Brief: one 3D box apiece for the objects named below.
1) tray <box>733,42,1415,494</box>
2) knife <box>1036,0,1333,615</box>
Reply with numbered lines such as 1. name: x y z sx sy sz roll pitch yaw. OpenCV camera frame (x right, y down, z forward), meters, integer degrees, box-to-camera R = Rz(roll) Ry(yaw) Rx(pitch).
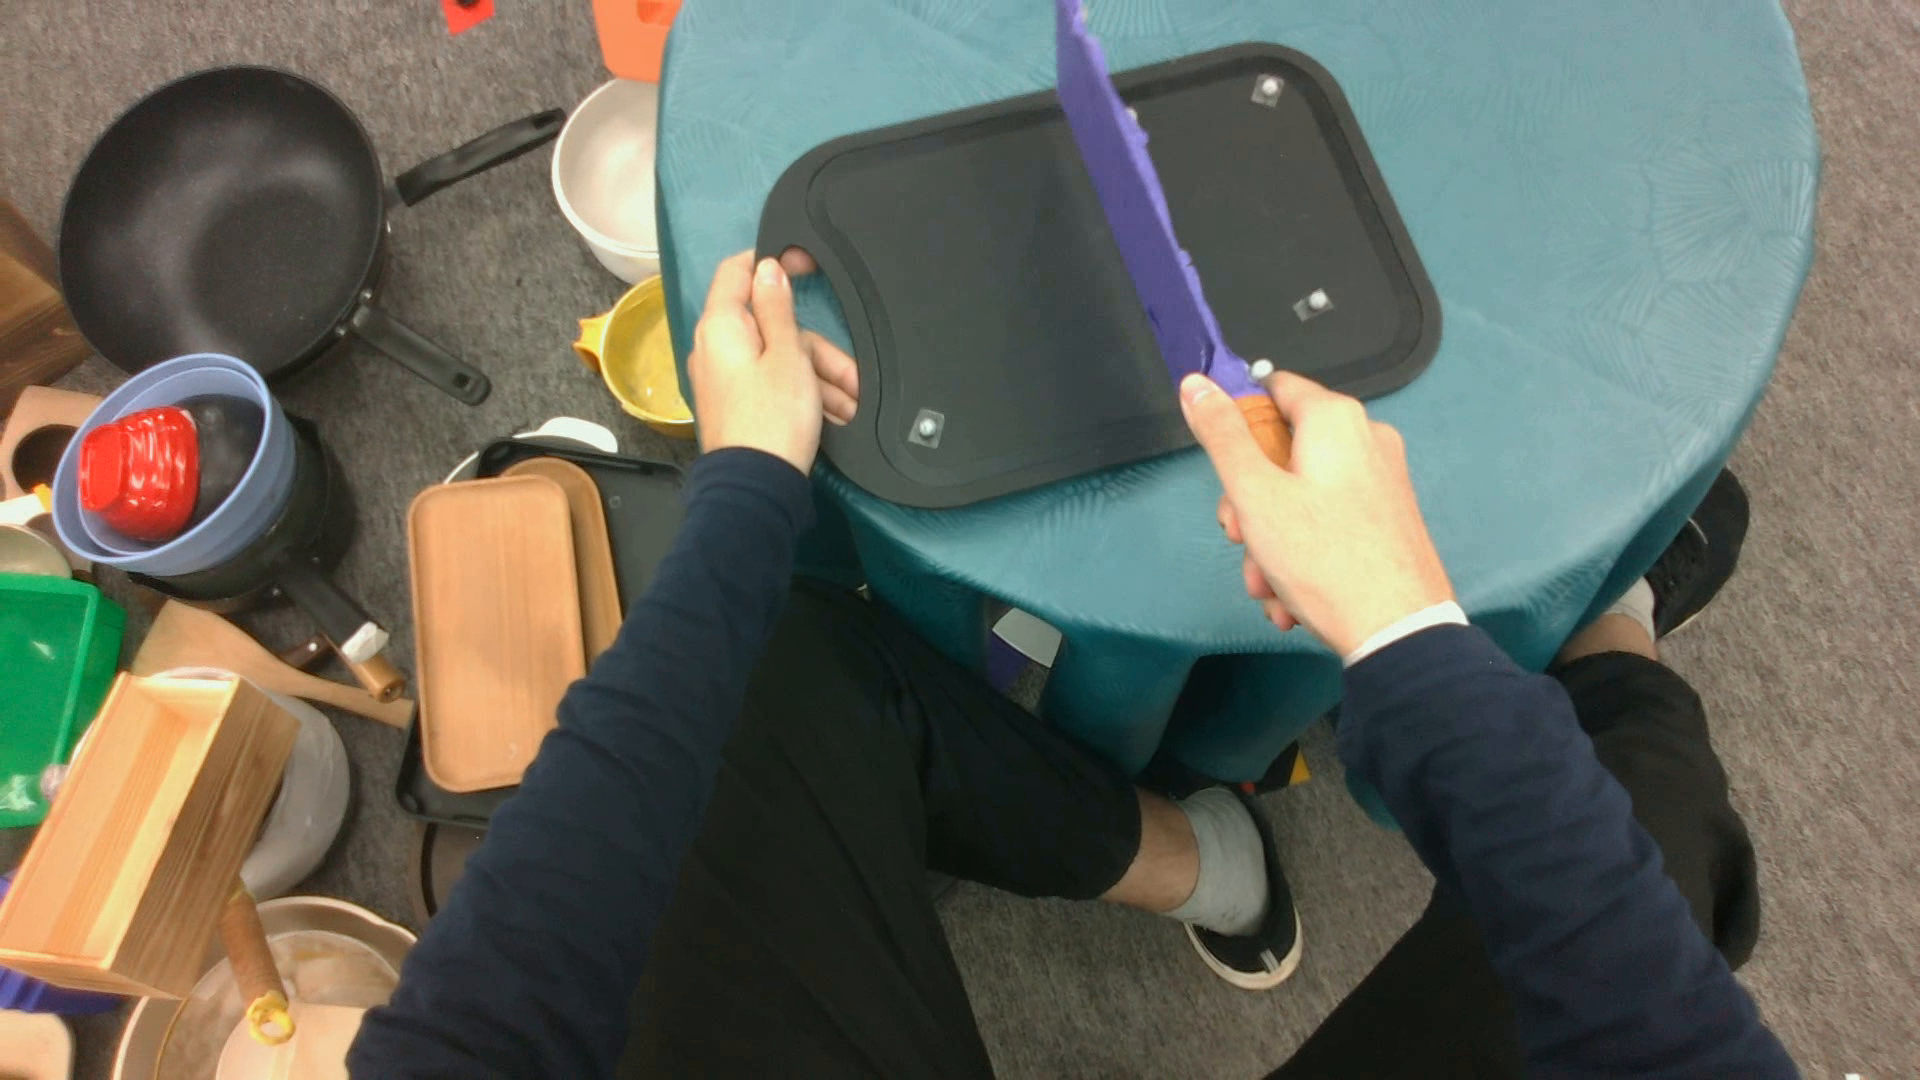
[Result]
1. tray: 0.052 -0.141 0.680 0.326 0.010 0.211 -15 71 -9
2. knife: 0.088 -0.110 0.602 0.032 0.103 0.316 -16 73 -2
